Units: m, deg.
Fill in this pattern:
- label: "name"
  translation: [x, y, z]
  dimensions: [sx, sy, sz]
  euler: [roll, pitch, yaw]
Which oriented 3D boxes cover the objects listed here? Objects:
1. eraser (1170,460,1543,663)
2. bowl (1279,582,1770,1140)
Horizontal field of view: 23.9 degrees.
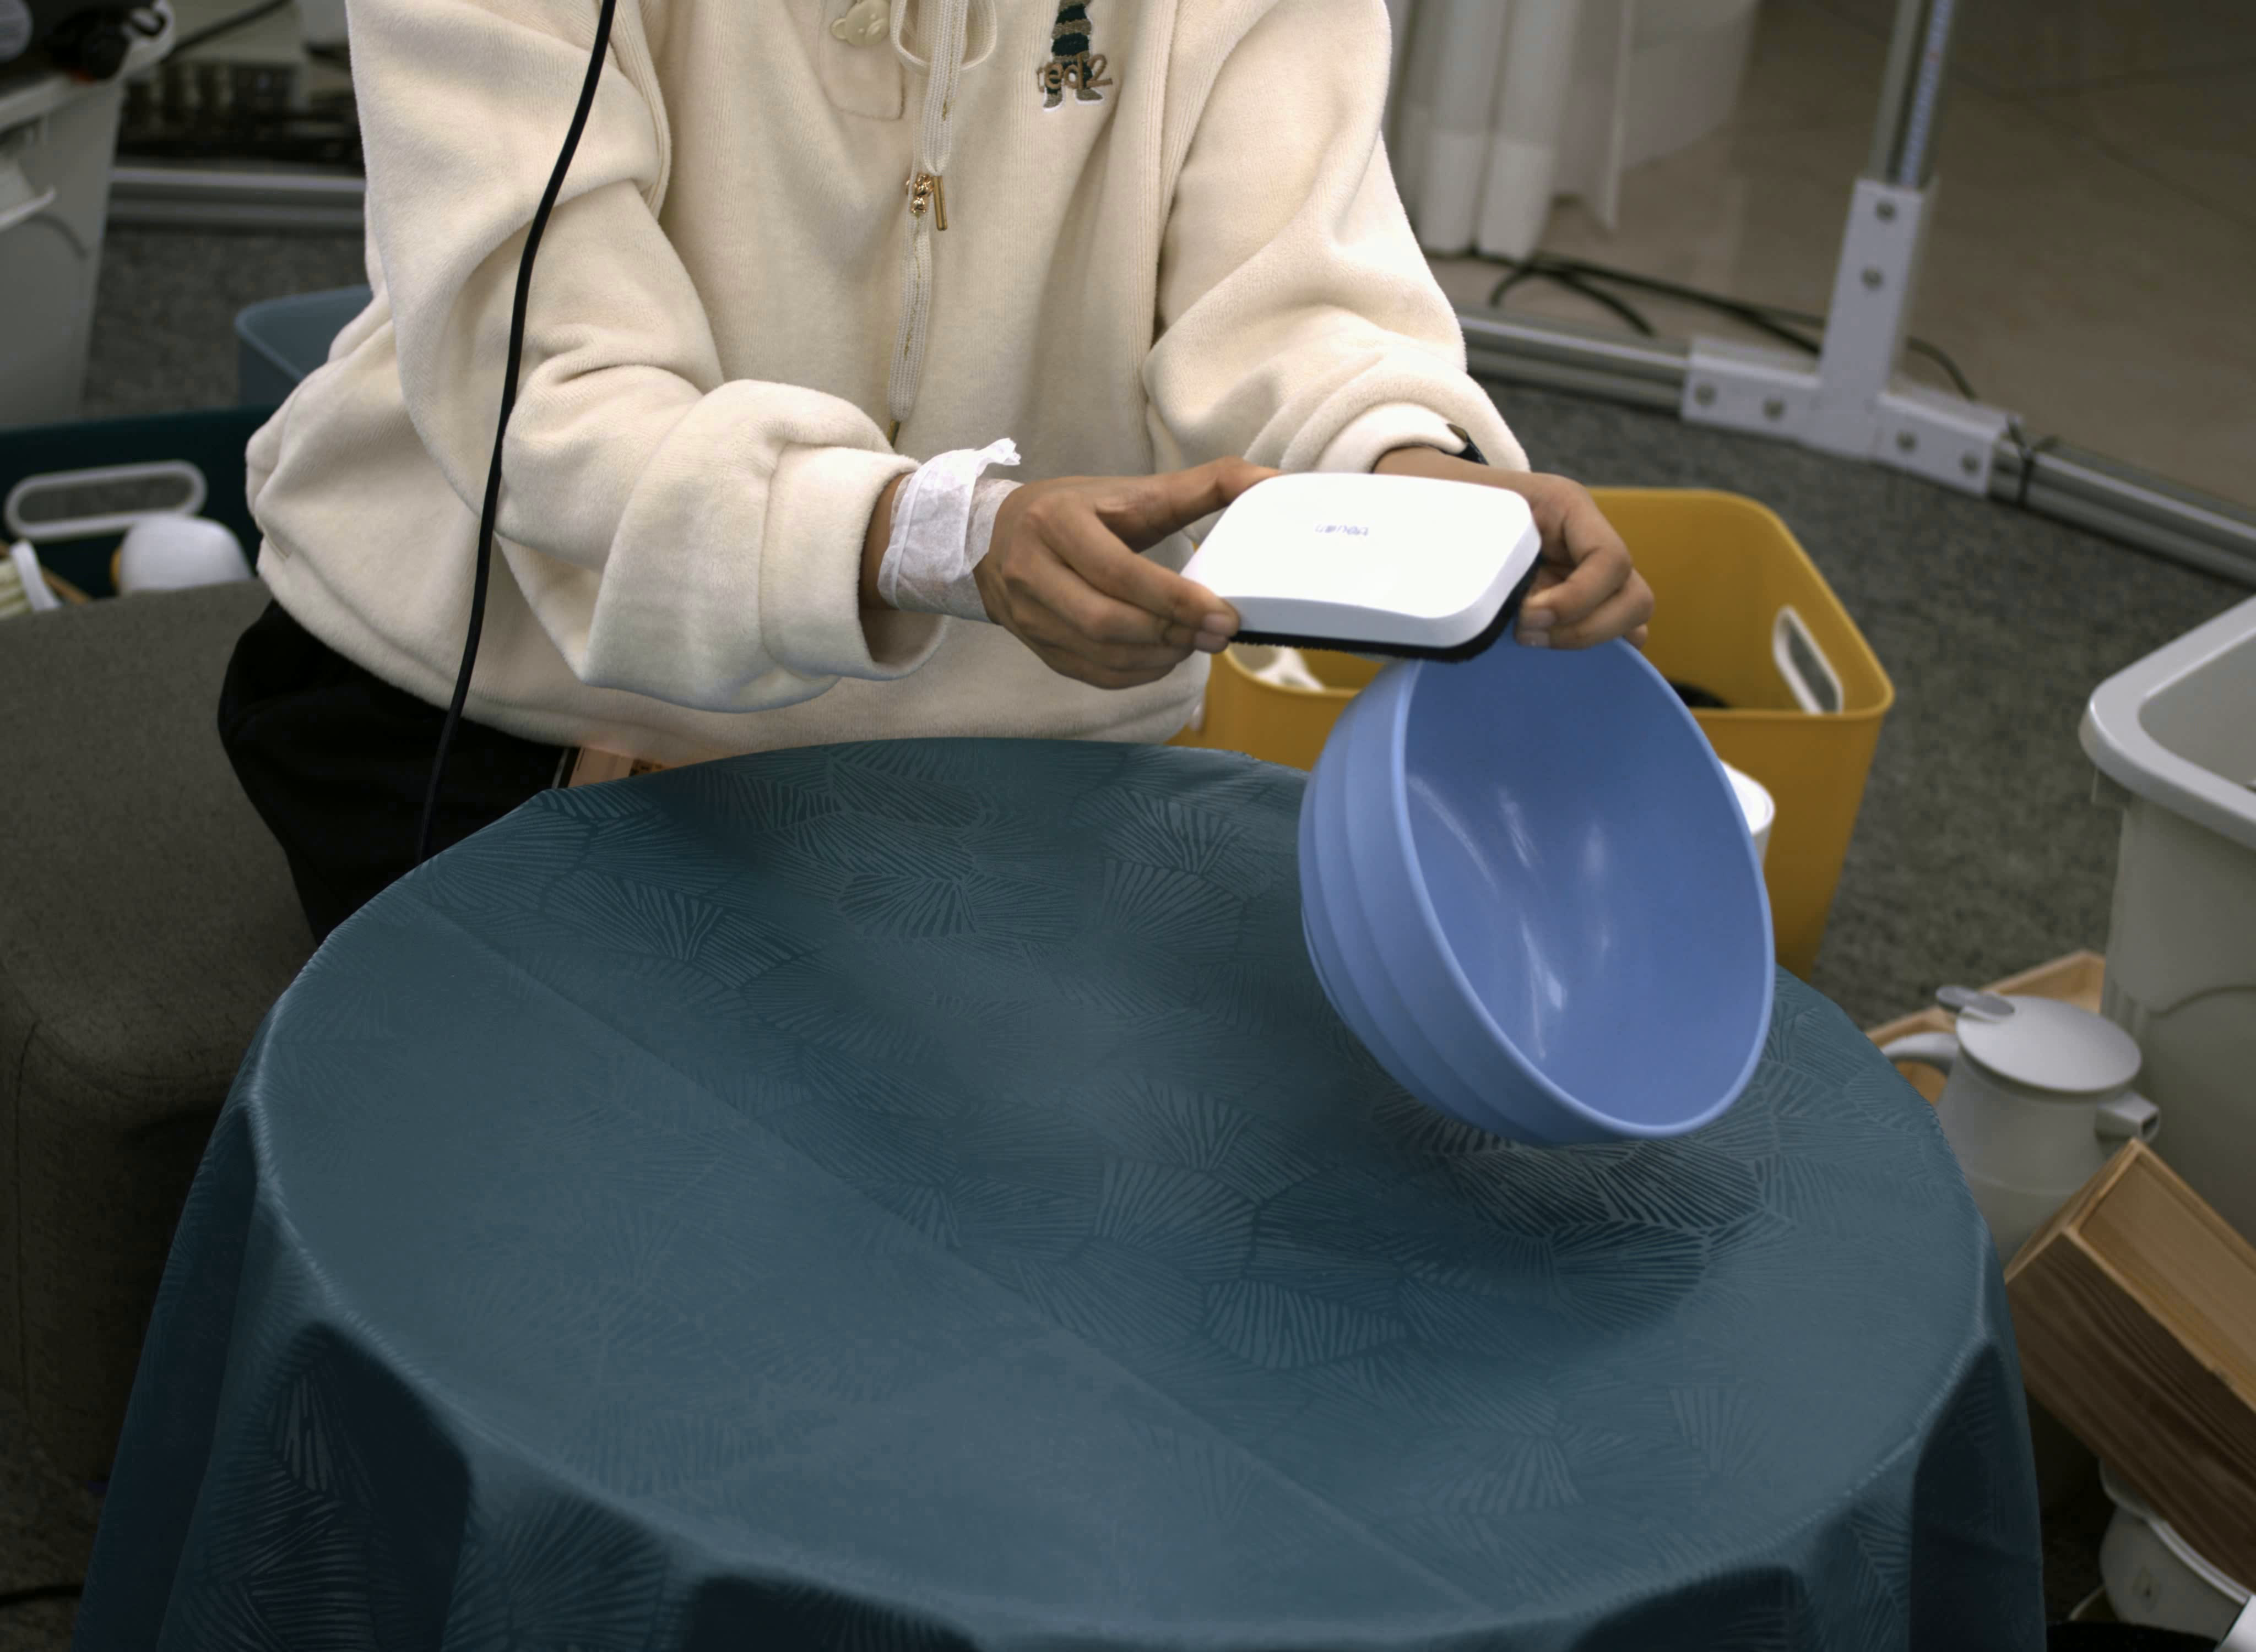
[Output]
- label: "eraser"
  translation: [0.077, -0.089, 1.795]
  dimensions: [0.132, 0.034, 0.063]
  euler: [7, 50, 42]
- label: "bowl"
  translation: [0.121, 0.022, 1.830]
  dimensions: [0.195, 0.197, 0.095]
  euler: [-23, -1, -45]
